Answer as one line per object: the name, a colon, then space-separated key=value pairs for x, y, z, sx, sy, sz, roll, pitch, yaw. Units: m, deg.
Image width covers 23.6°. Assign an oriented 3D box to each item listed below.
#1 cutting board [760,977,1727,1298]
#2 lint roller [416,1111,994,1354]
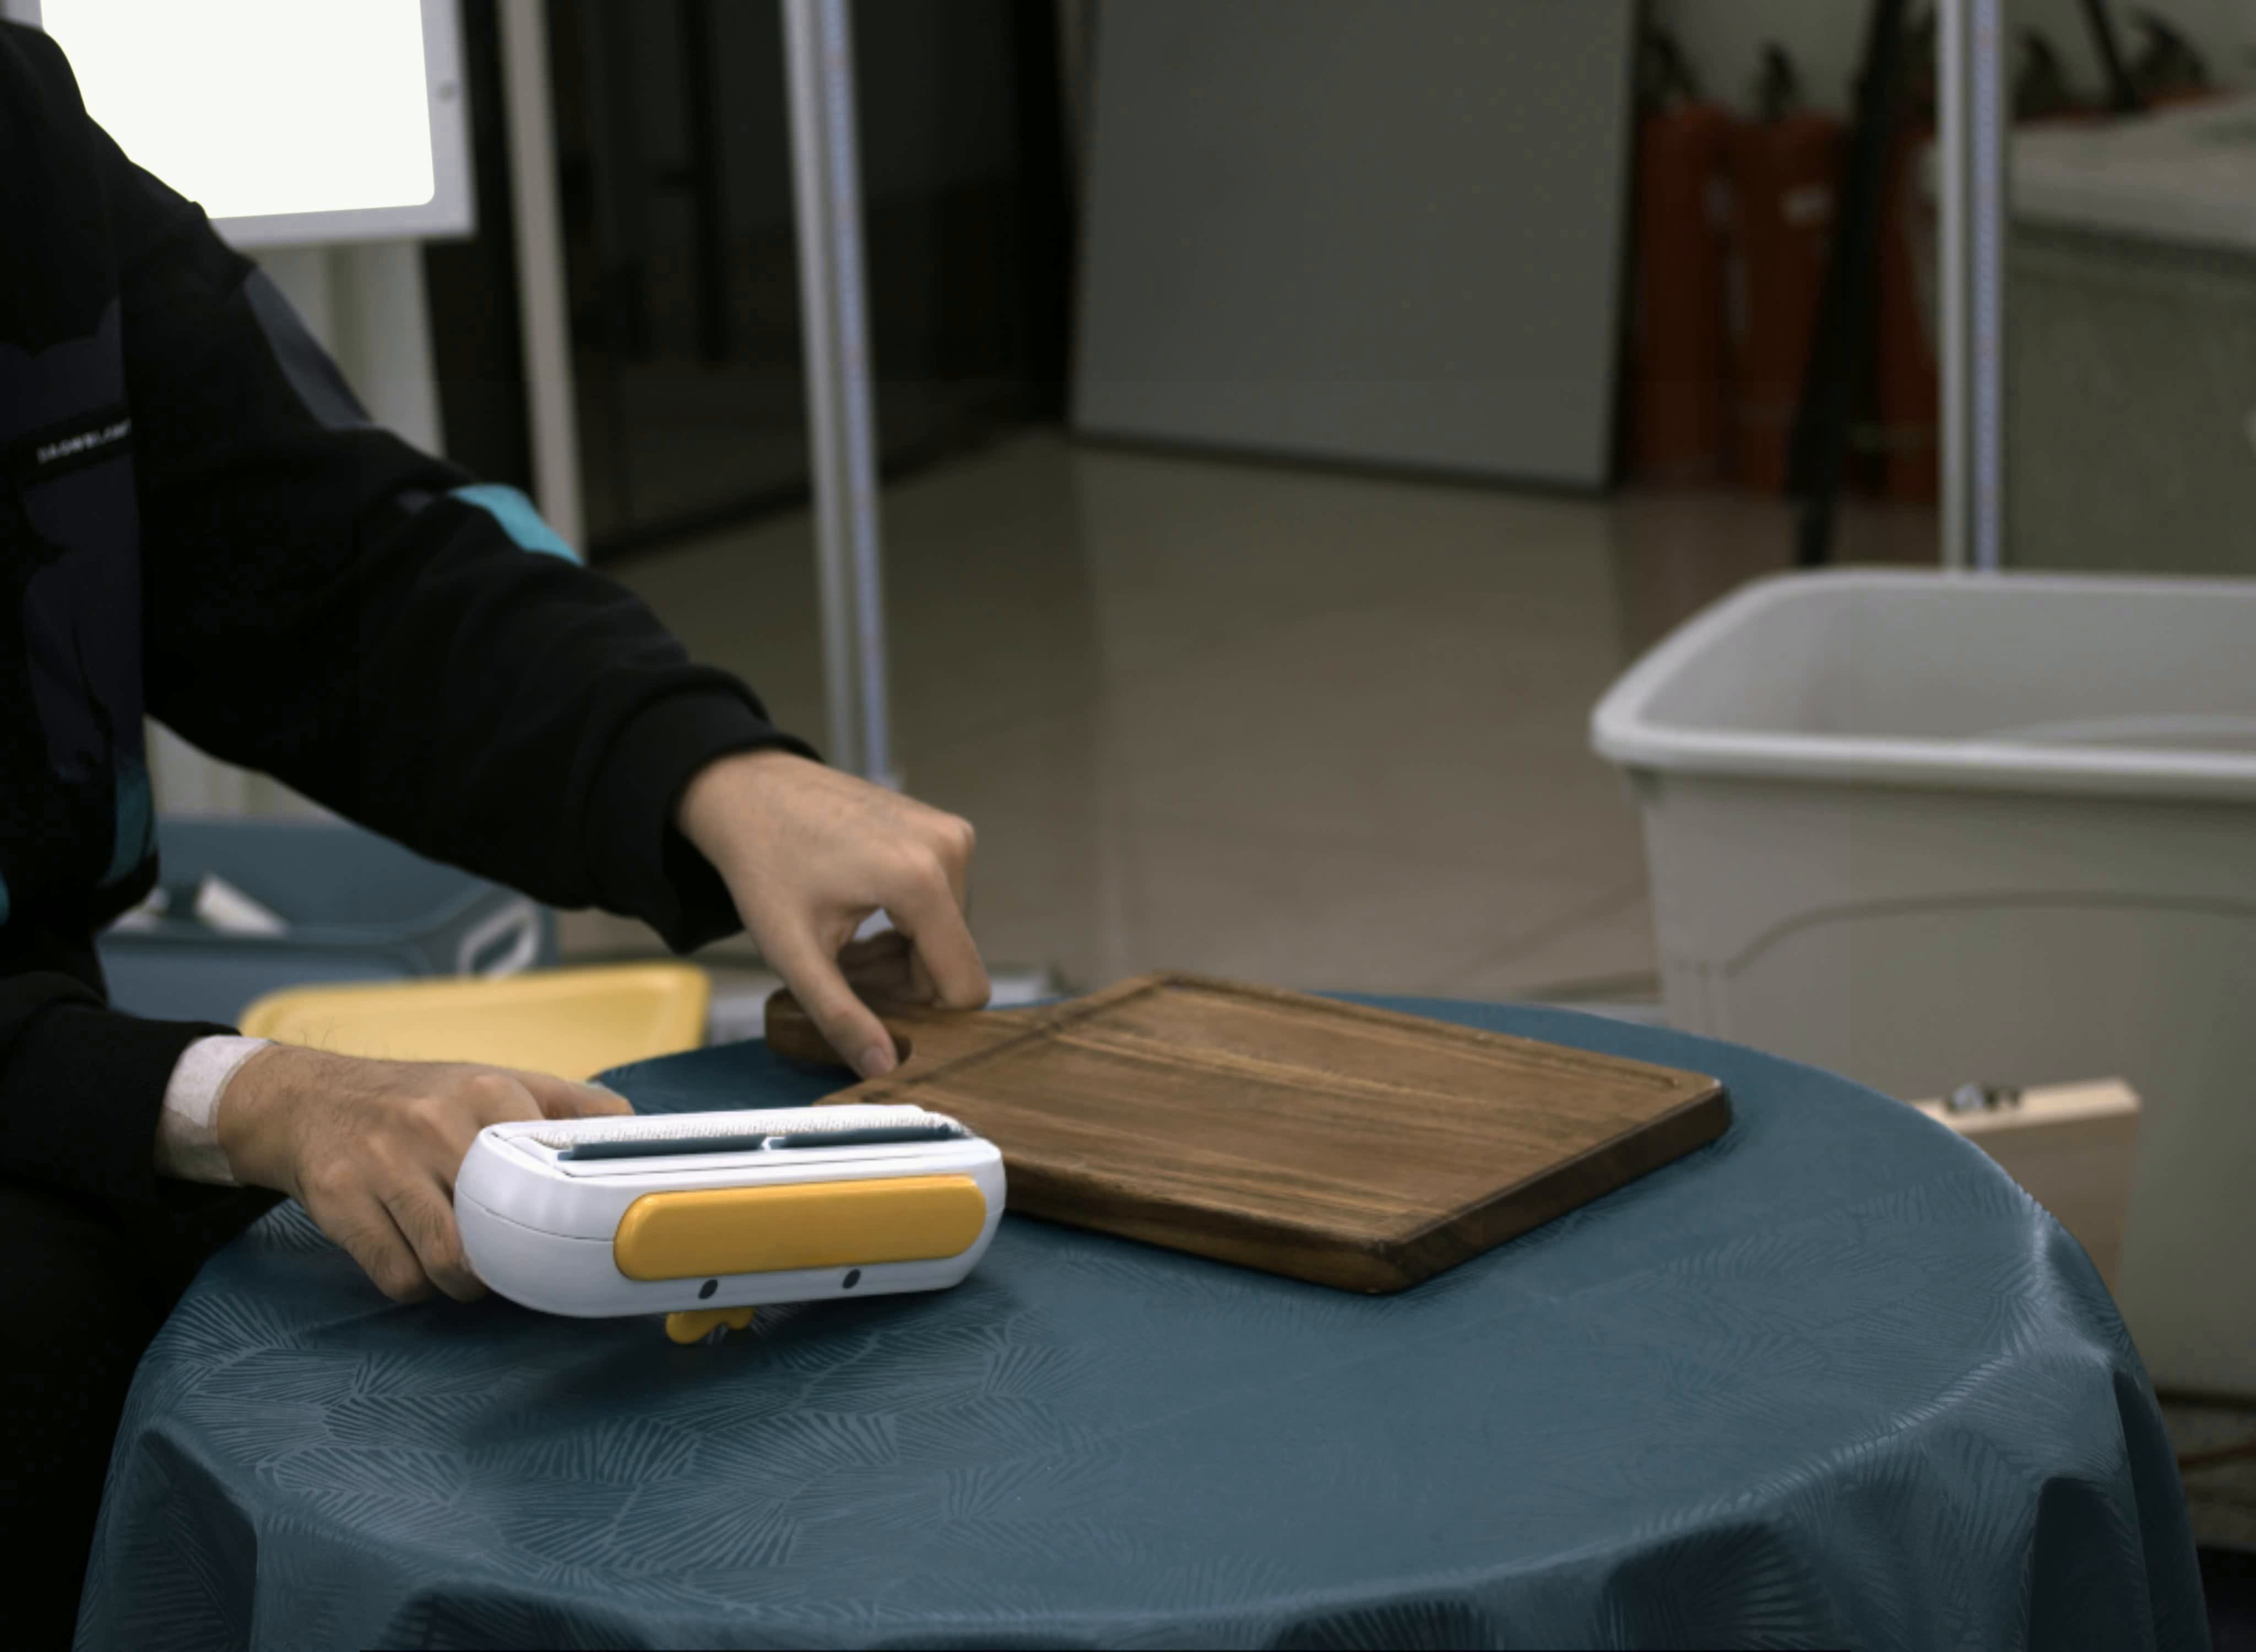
cutting board: x=0.009 y=0.093 z=1.828 sx=0.355 sy=0.023 sz=0.197 roll=9 pitch=19 yaw=40
lint roller: x=-0.162 y=0.117 z=1.693 sx=0.188 sy=0.075 sz=0.194 roll=-5 pitch=10 yaw=-38
